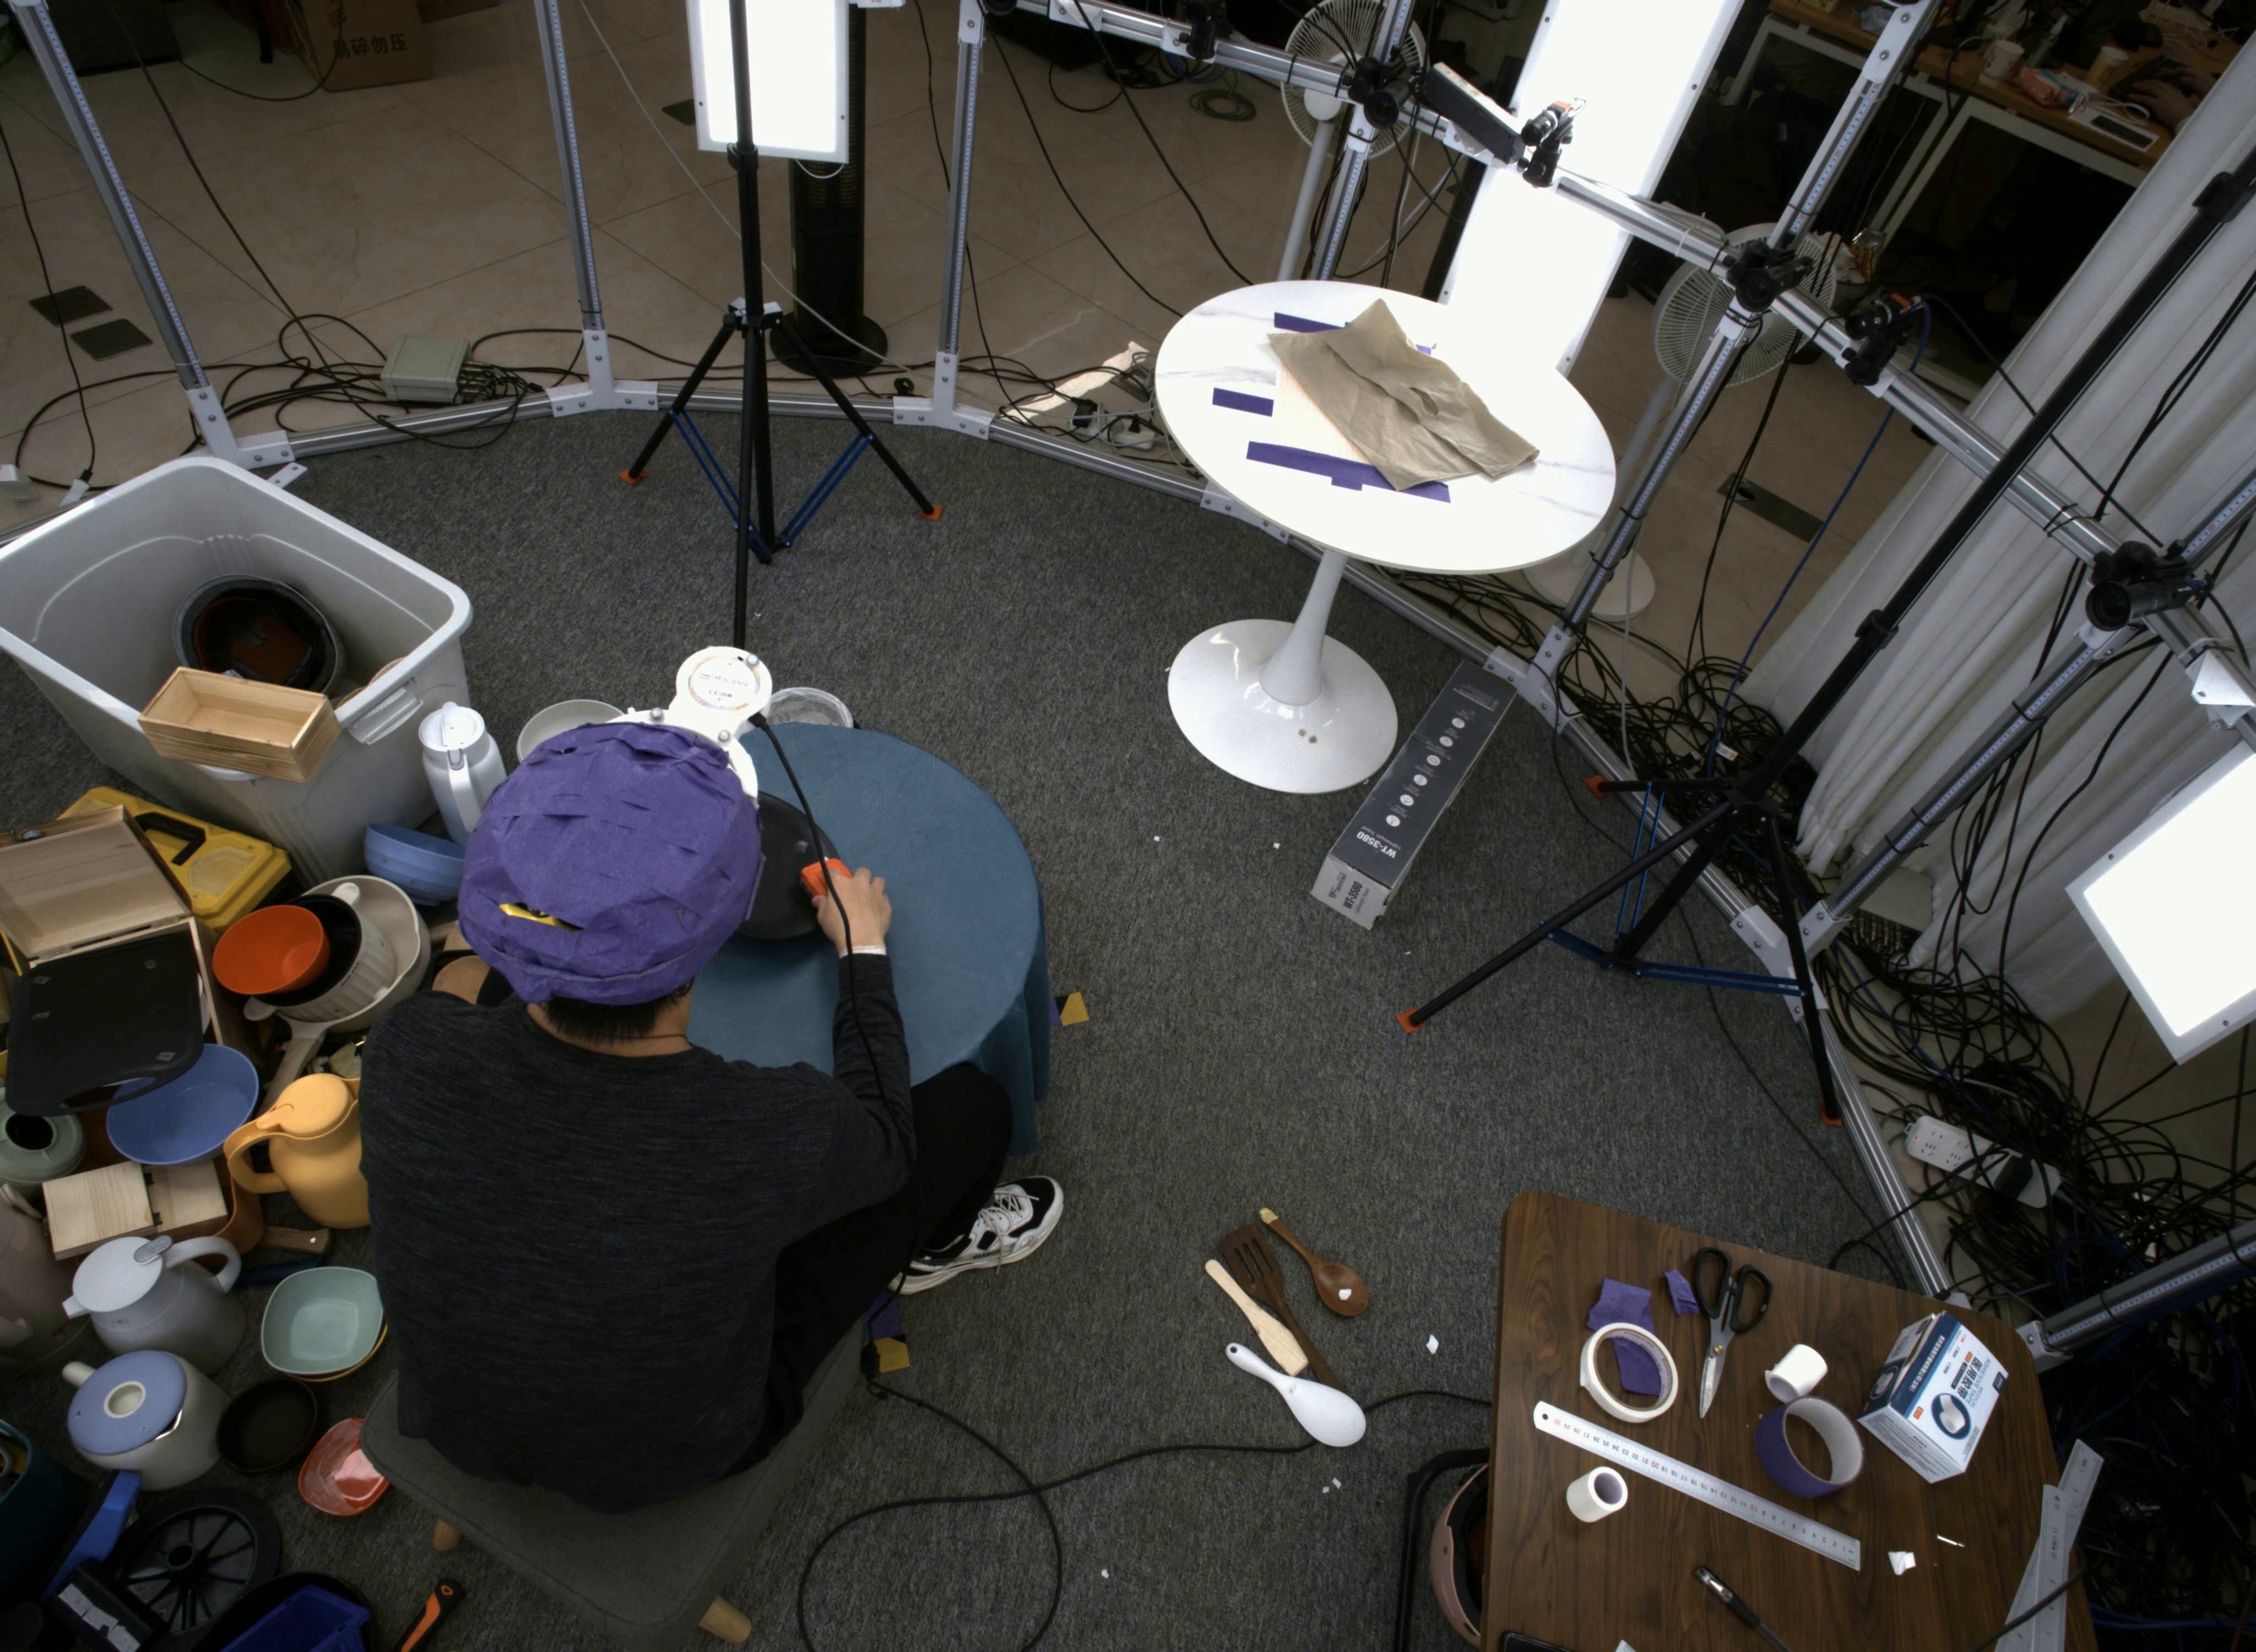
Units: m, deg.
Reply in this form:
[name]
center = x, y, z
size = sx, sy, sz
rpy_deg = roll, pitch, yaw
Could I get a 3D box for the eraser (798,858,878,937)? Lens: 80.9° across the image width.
[eraser]
center = -0.365, 0.087, 1.635
size = 0.059, 0.023, 0.105
rpy_deg = -22, 60, -42

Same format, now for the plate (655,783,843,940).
[plate]
center = -0.472, 0.045, 1.613
size = 0.249, 0.023, 0.239
rpy_deg = 27, 38, -21
